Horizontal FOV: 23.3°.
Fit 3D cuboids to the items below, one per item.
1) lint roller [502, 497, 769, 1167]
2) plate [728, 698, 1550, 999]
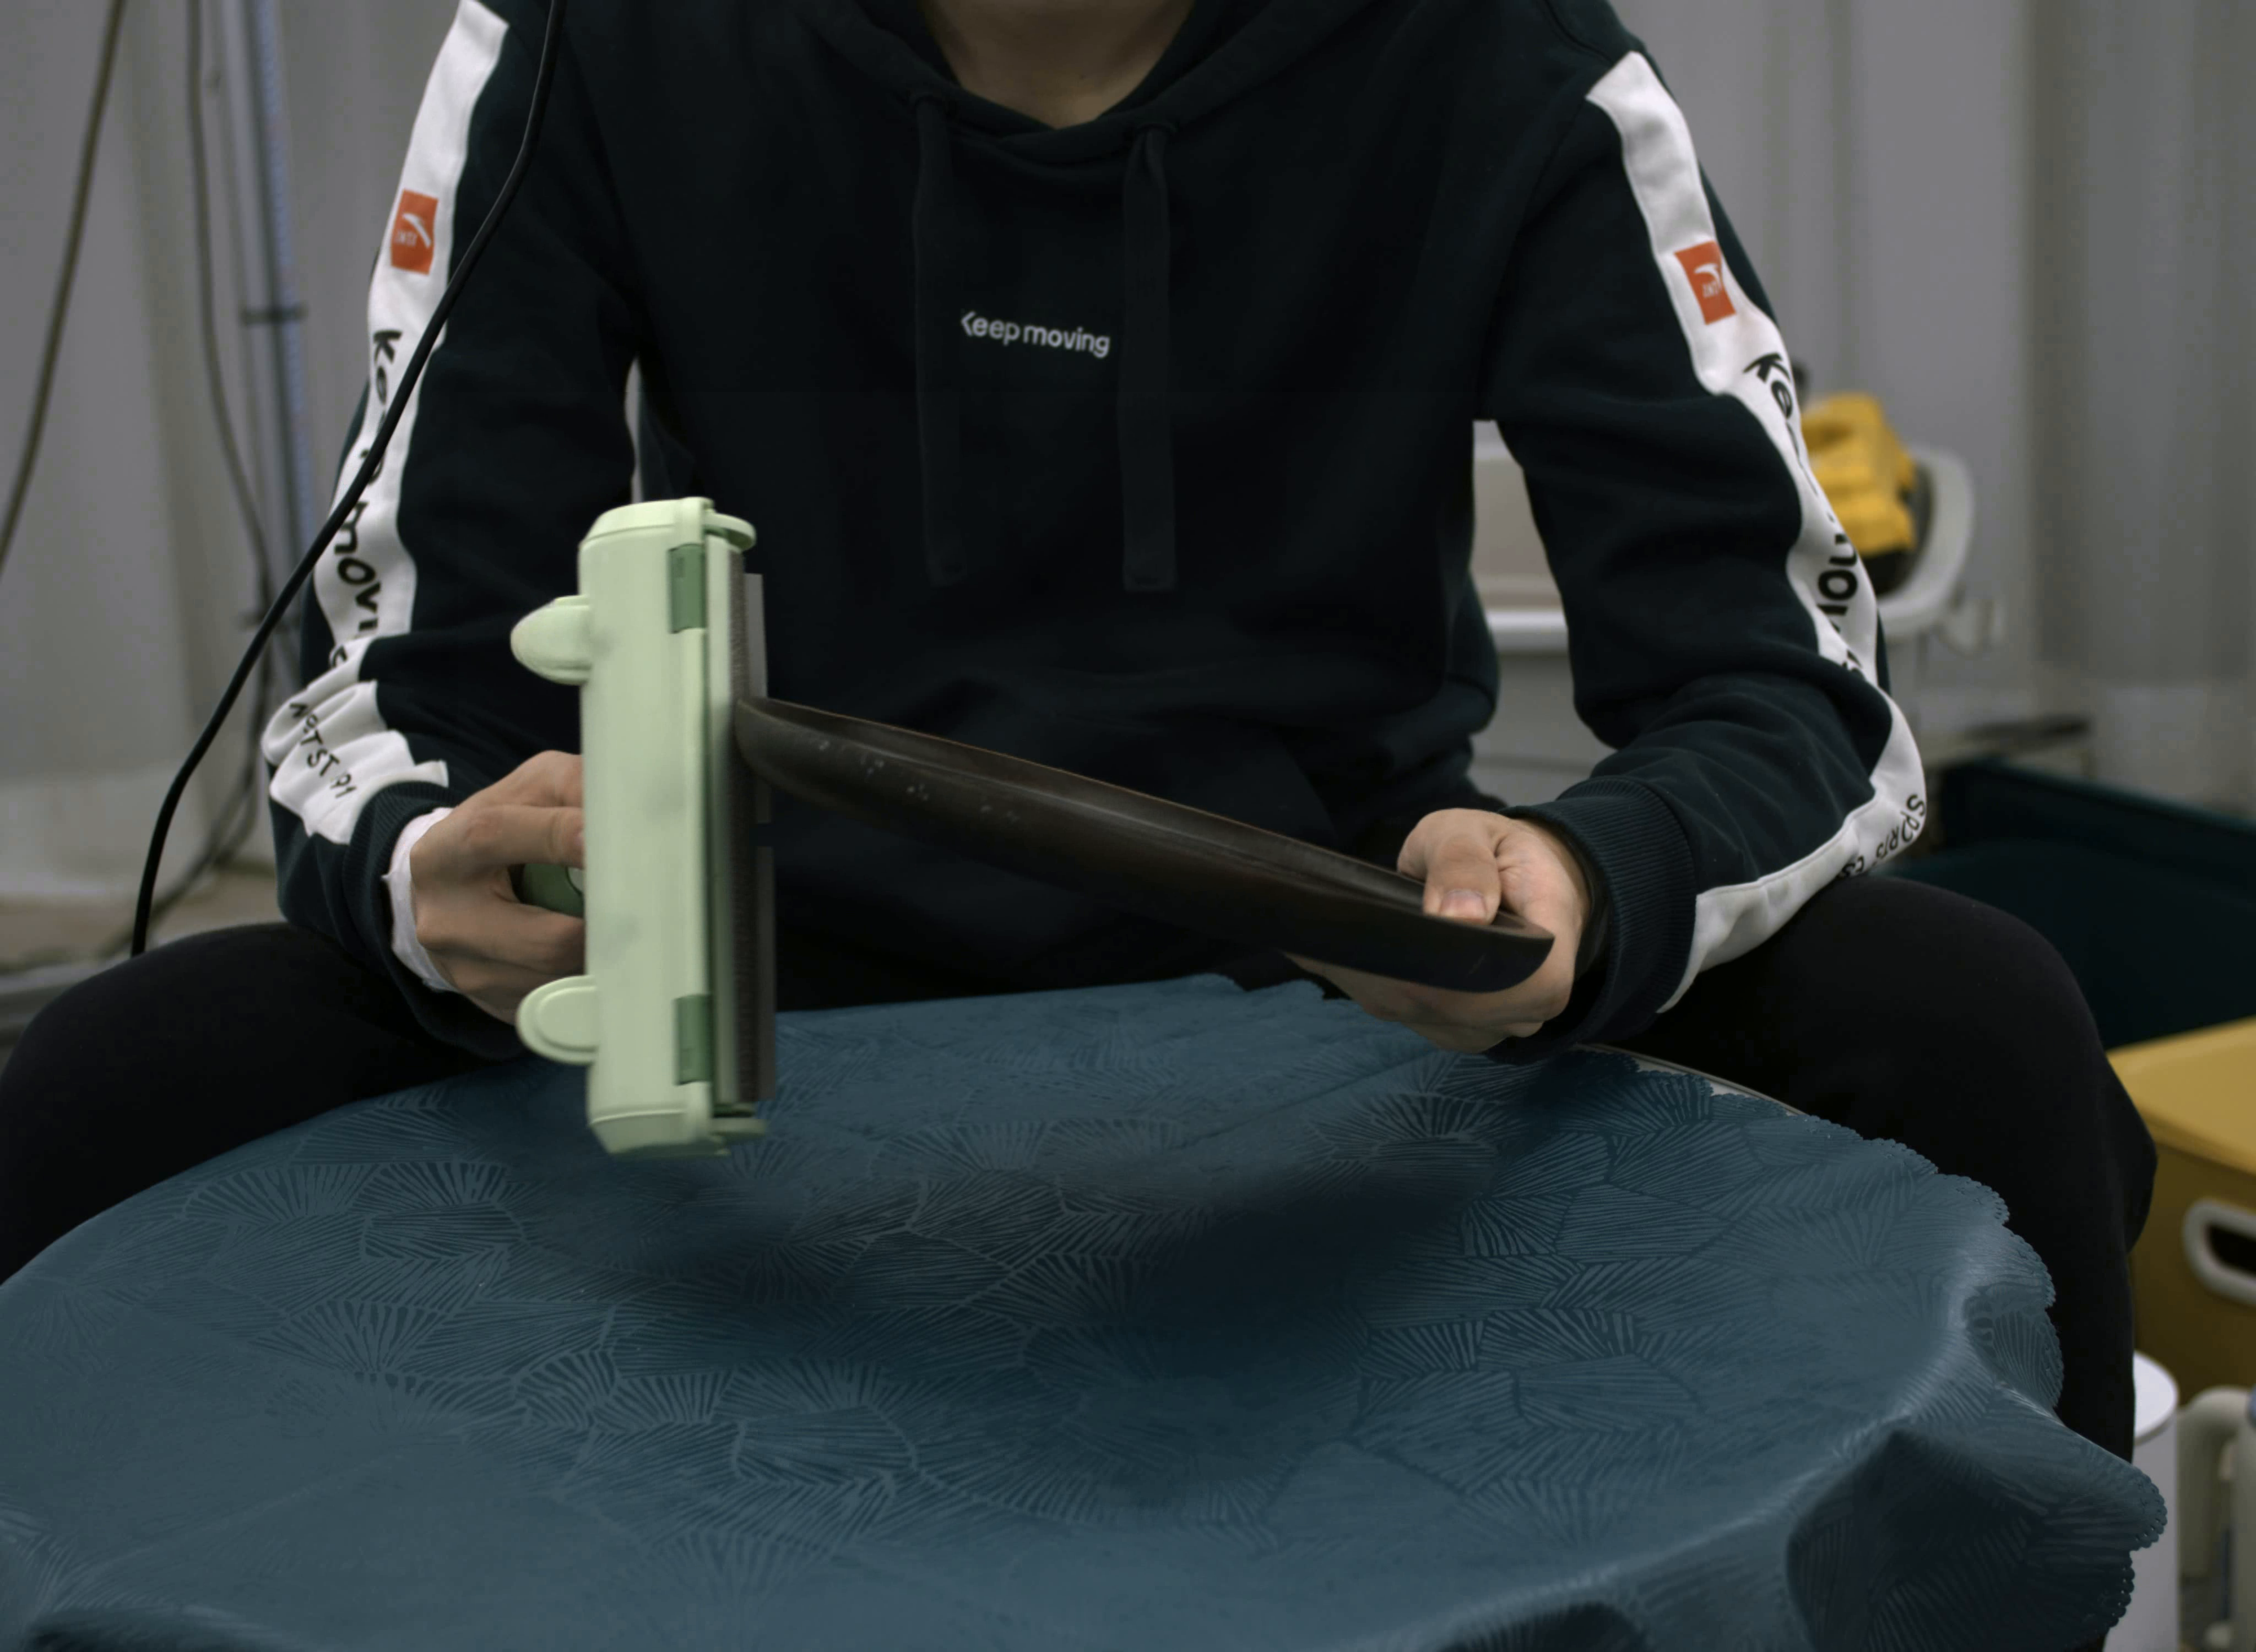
[{"bbox_3d":[-0.172,0.011,1.684,0.081,0.200,0.183,4,-12,-30],"label":"lint roller"},{"bbox_3d":[0.001,0.007,1.618,0.254,0.029,0.255,15,4,-1],"label":"plate"}]
